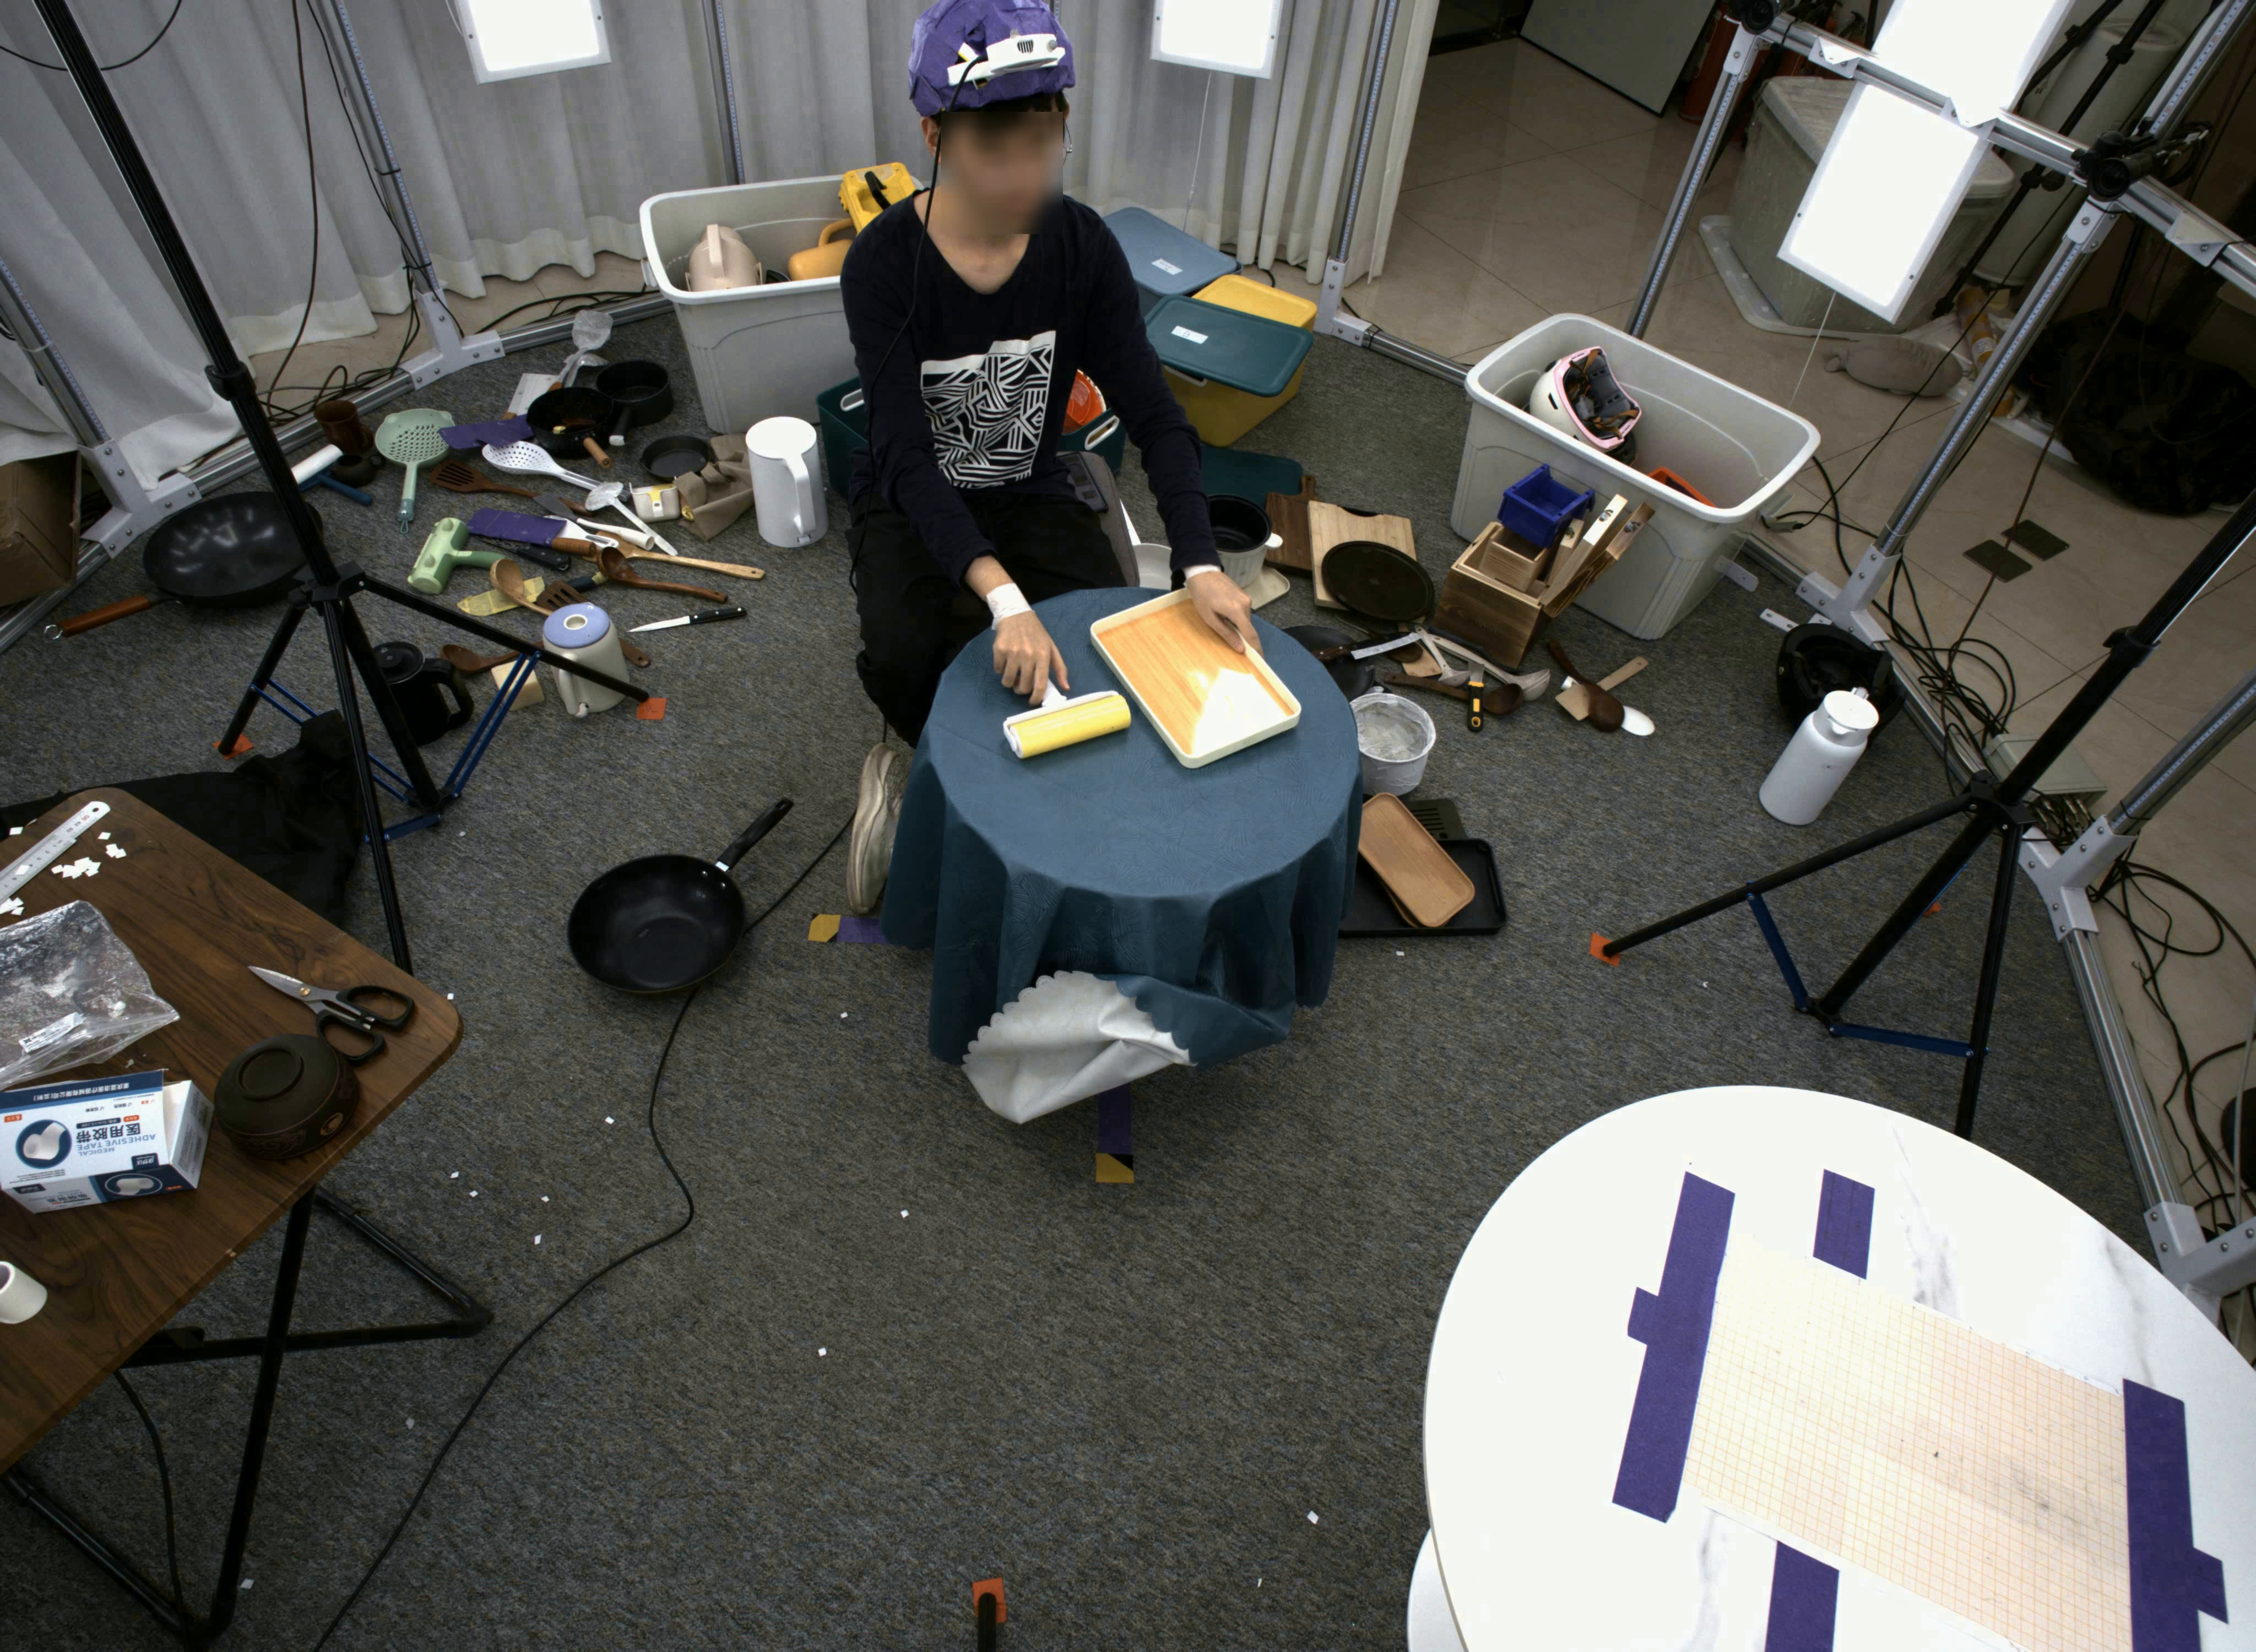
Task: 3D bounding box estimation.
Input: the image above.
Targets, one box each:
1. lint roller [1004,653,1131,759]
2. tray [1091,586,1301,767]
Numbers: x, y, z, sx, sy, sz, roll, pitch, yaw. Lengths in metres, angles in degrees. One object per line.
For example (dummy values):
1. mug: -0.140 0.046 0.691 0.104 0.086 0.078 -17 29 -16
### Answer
1. lint roller: -0.111 -0.187 1.790 0.174 0.050 0.196 -18 56 -20
2. tray: 0.093 -0.220 1.837 0.192 0.027 0.307 -22 54 -16
